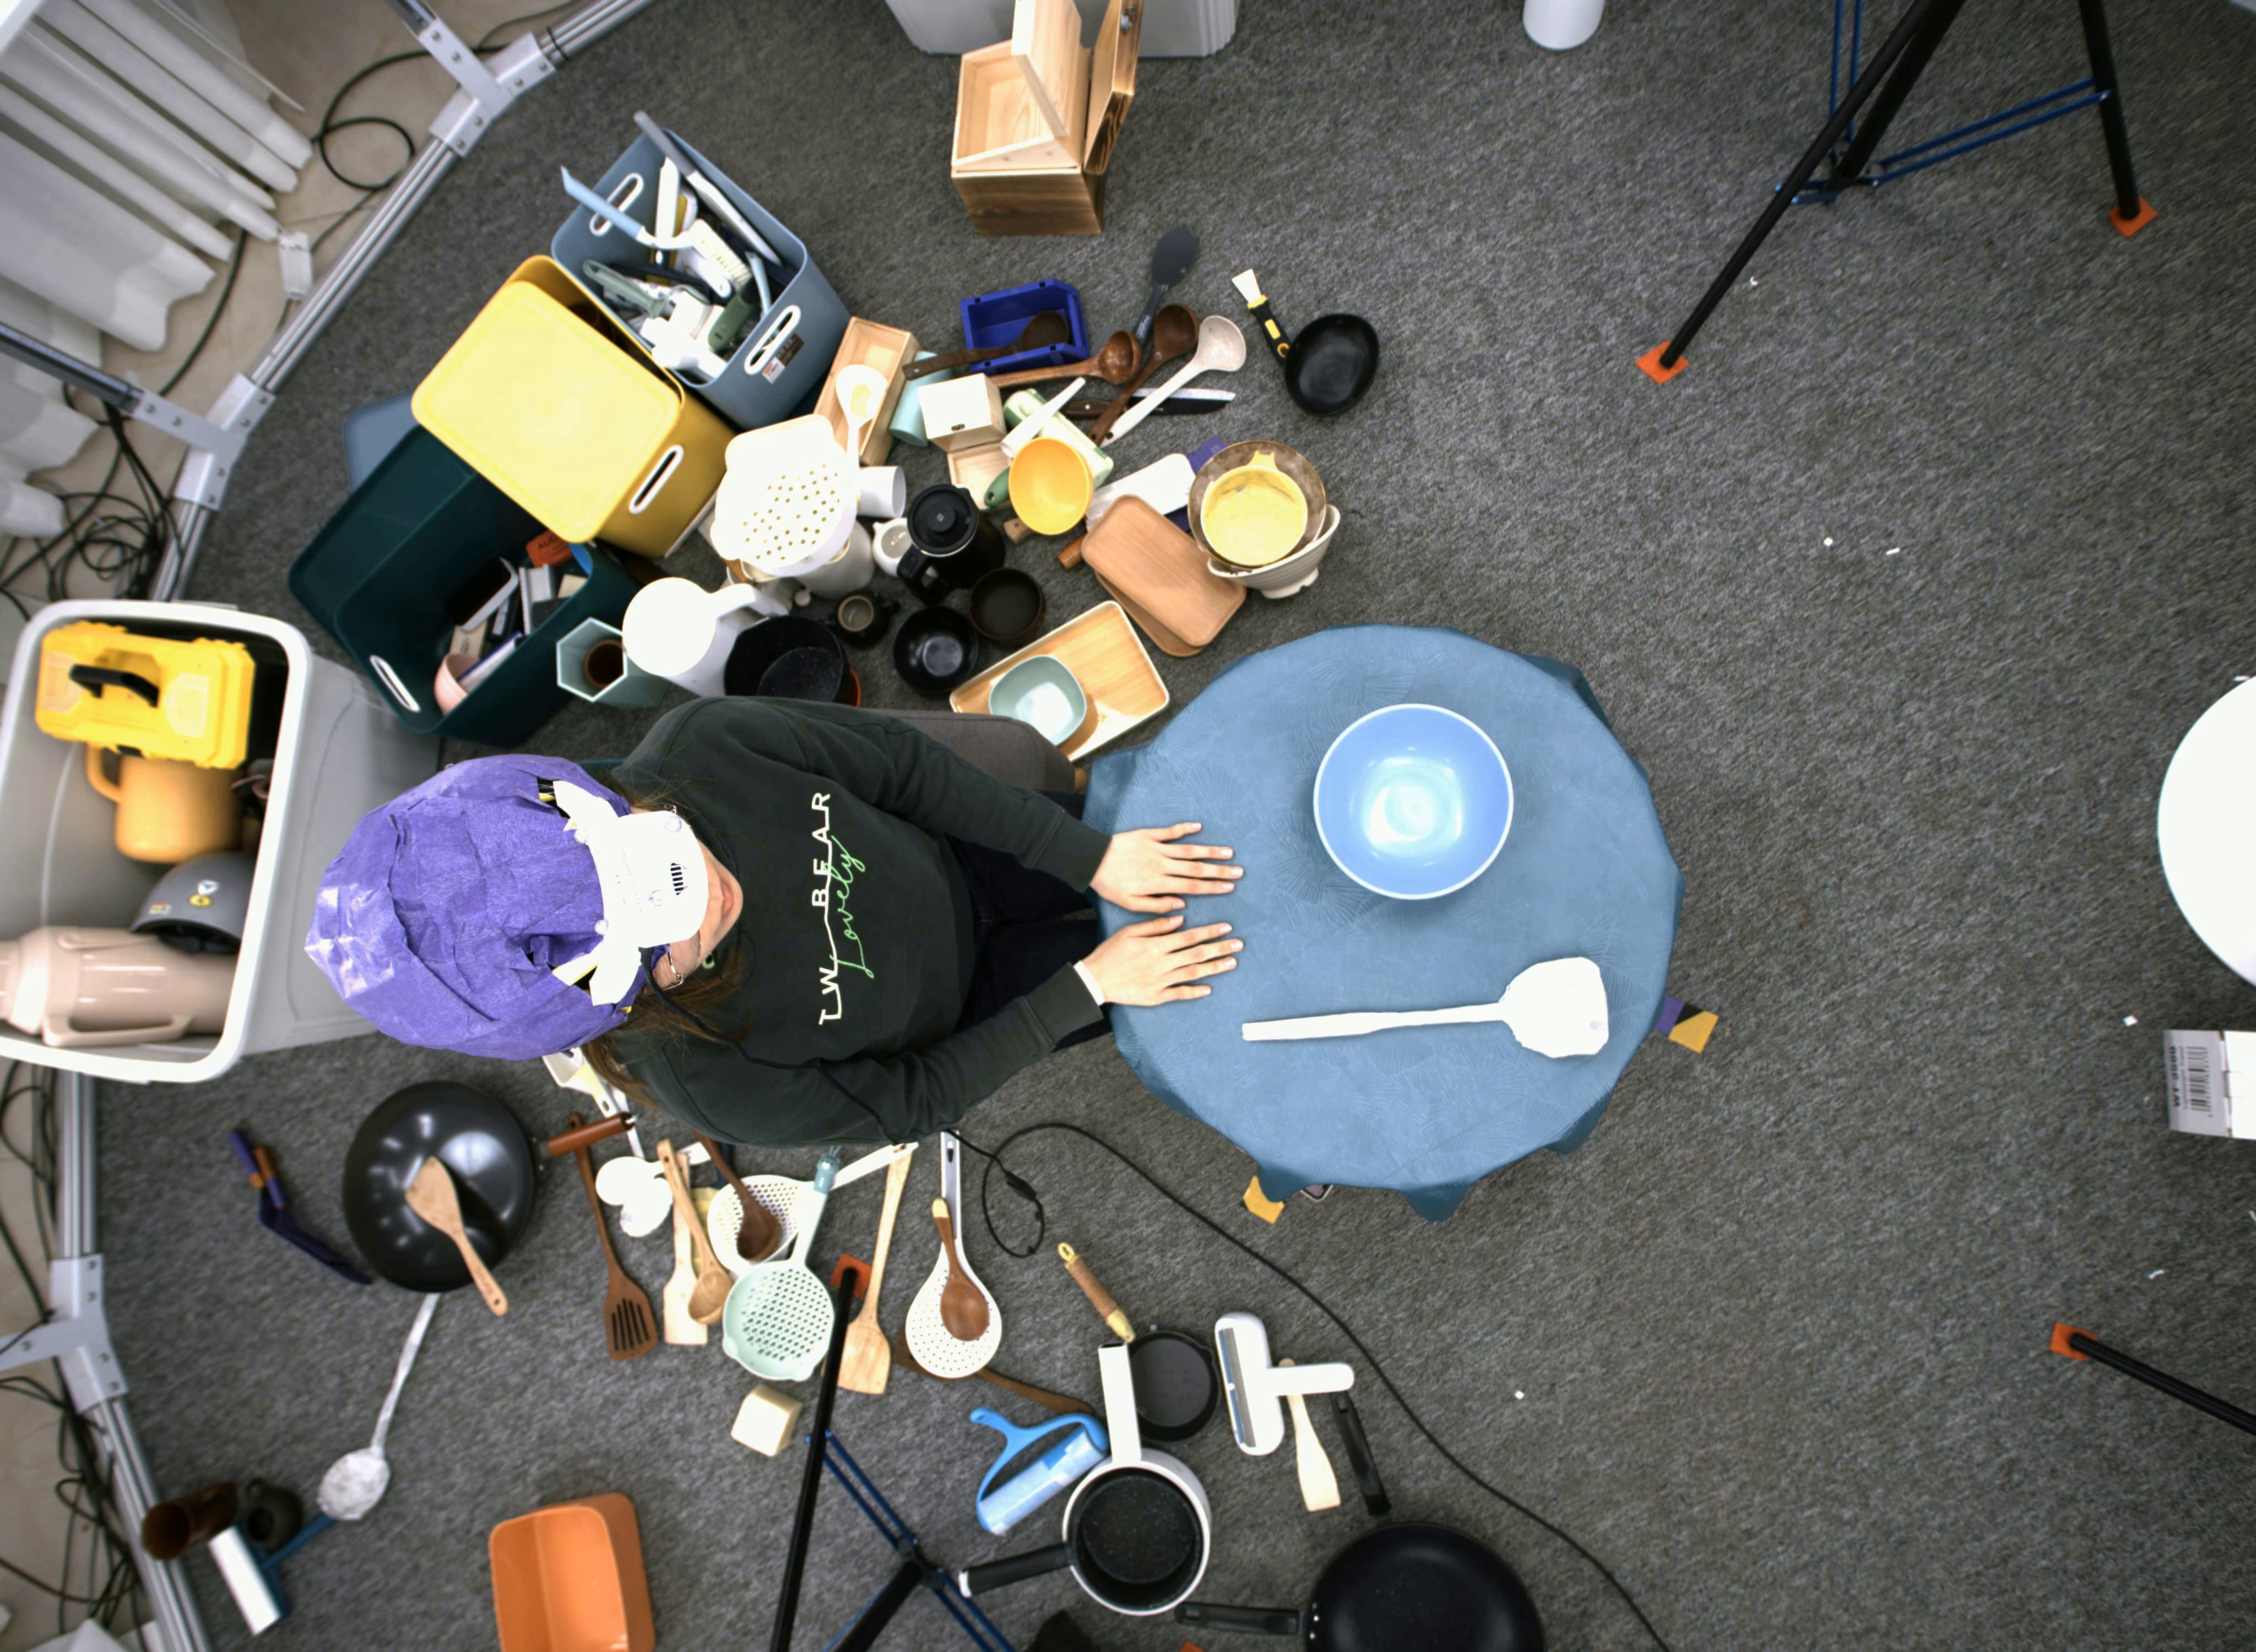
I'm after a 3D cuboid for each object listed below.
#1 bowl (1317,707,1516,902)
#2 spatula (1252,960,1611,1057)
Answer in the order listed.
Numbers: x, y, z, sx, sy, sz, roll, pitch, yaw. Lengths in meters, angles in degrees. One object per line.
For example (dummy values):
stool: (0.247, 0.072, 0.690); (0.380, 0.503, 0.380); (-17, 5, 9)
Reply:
bowl: (0.294, -0.019, 1.418); (0.197, 0.095, 0.196); (-1, 87, 9)
spatula: (0.309, 0.195, 1.430); (0.366, 0.045, 0.098); (-5, 87, 10)
